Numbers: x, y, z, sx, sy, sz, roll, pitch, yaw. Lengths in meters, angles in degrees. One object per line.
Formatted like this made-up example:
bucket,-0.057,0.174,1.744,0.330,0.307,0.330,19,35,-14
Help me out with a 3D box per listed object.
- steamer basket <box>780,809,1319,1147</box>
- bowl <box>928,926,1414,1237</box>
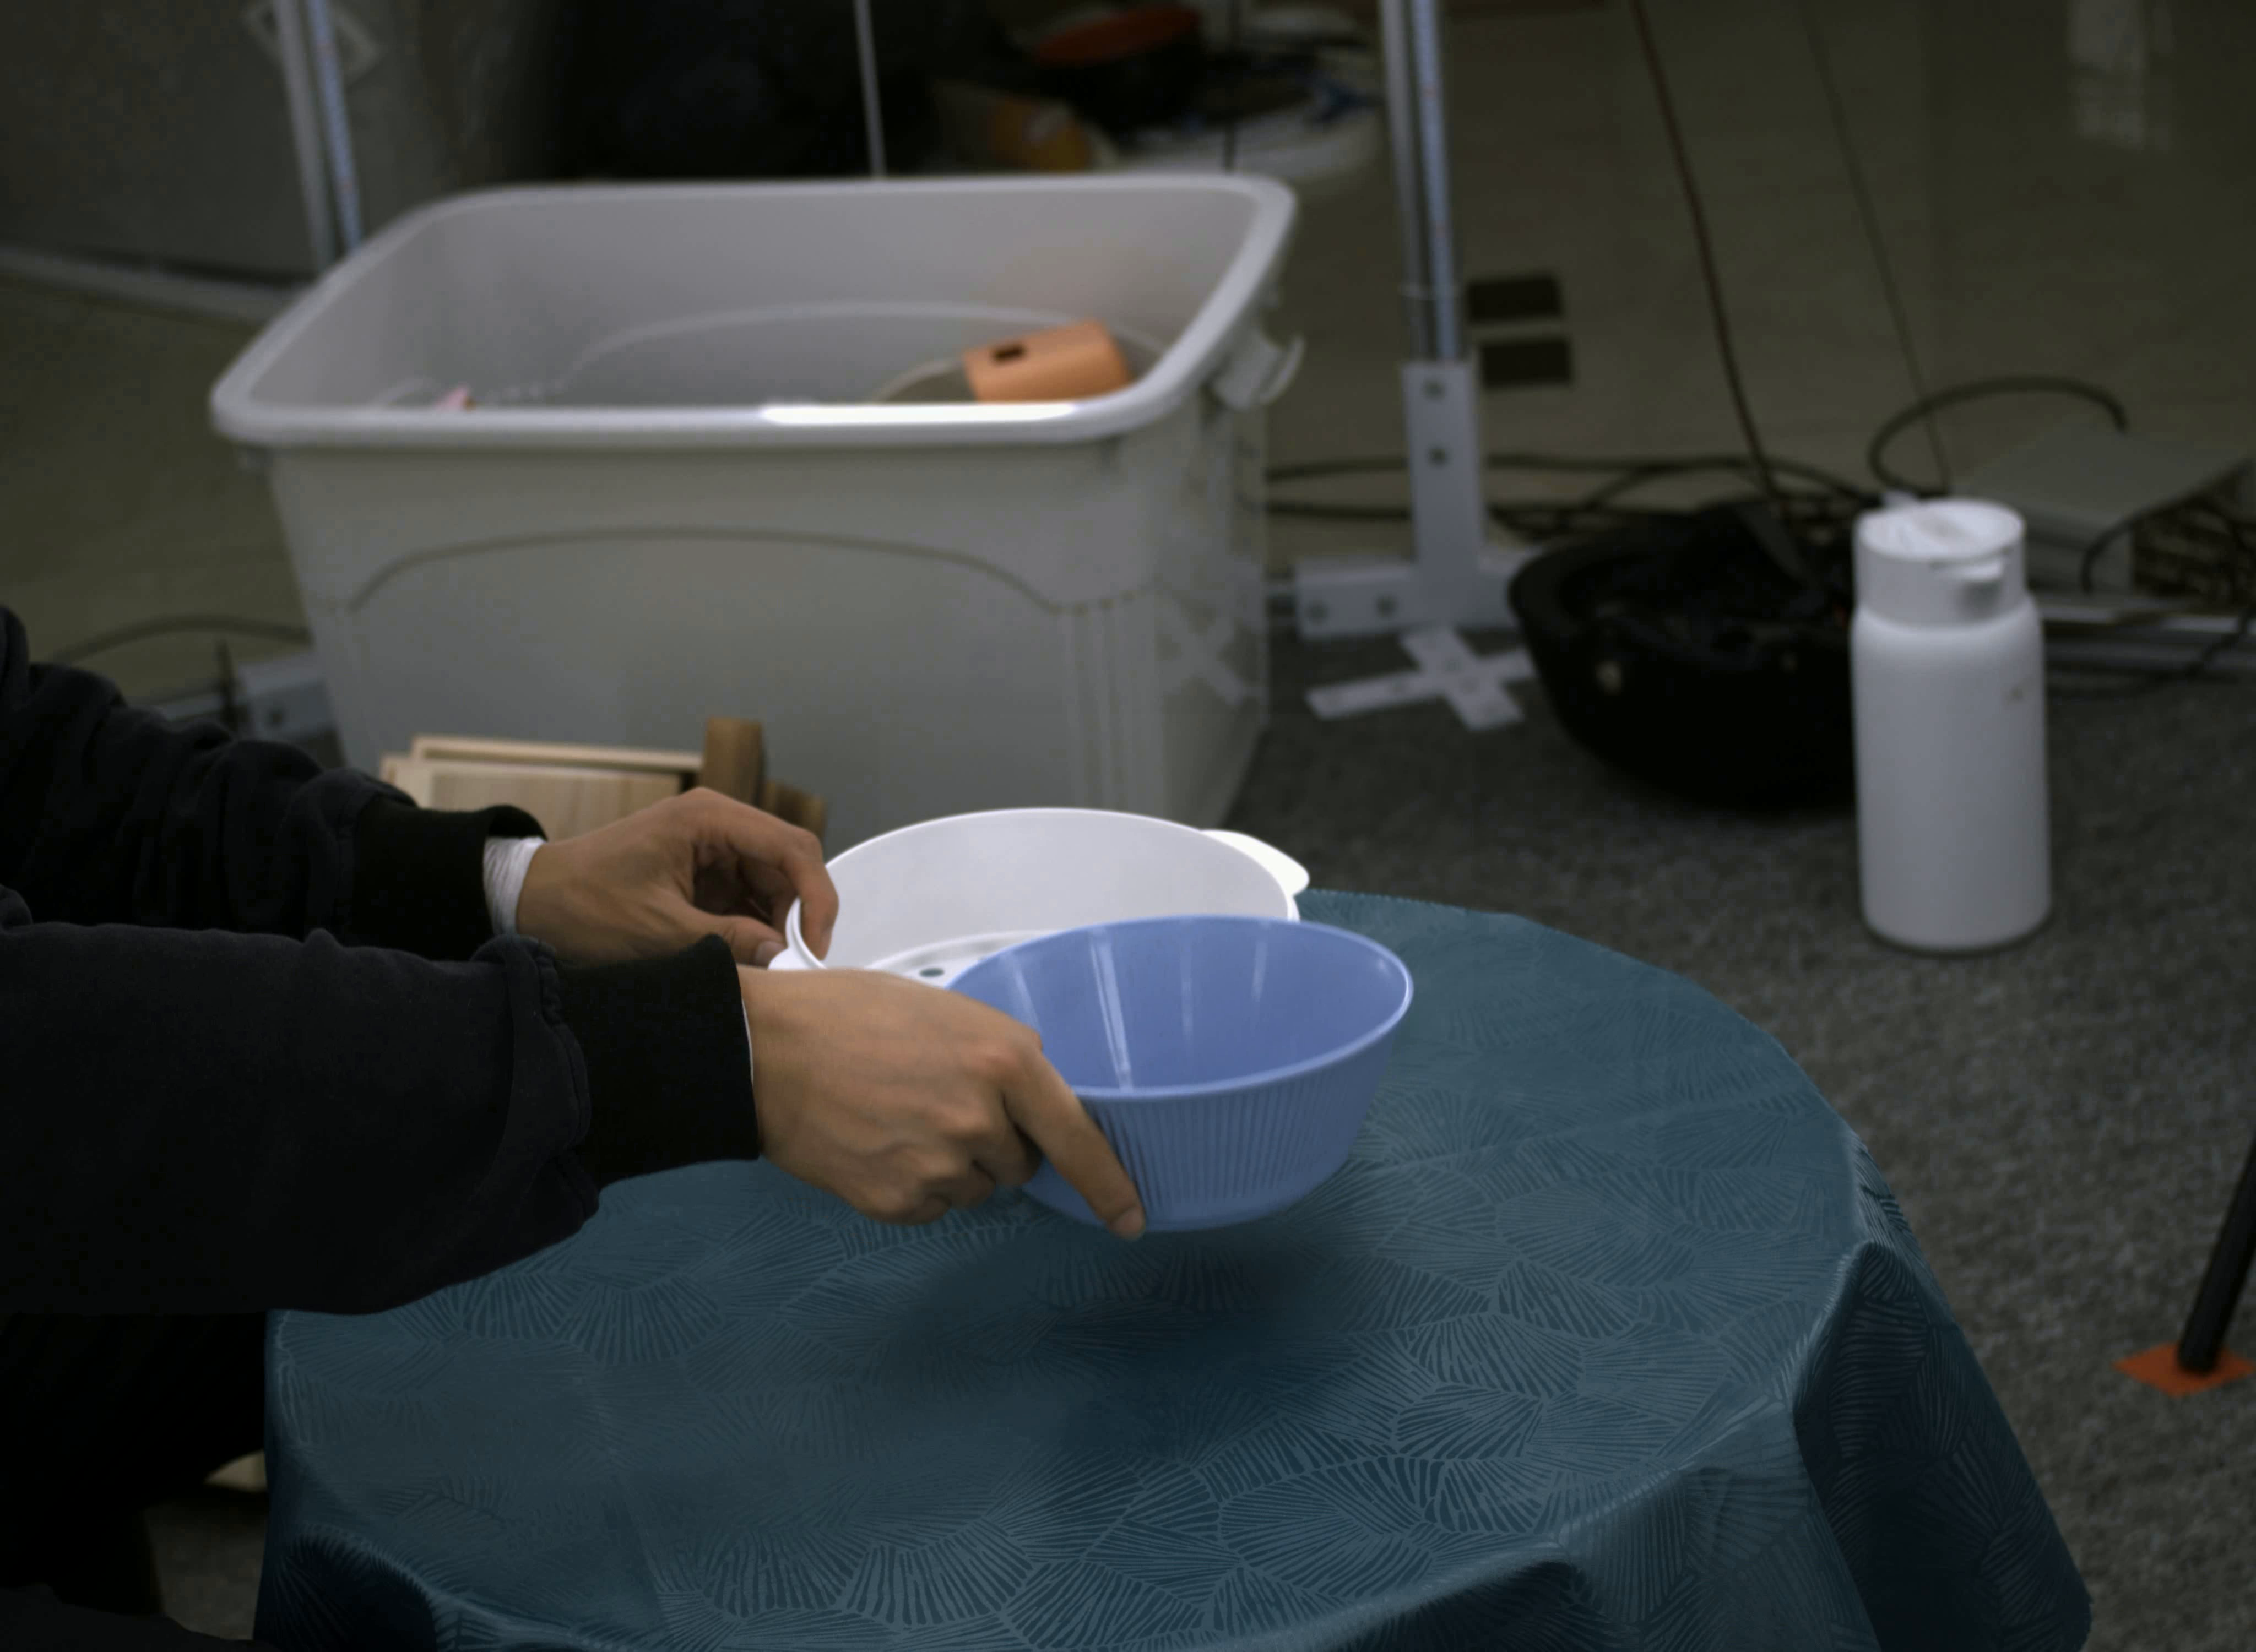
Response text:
steamer basket,-0.029,0.062,2.230,0.229,0.070,0.199,-14,28,-32
bowl,0.017,0.096,2.044,0.176,0.071,0.174,-4,19,1
